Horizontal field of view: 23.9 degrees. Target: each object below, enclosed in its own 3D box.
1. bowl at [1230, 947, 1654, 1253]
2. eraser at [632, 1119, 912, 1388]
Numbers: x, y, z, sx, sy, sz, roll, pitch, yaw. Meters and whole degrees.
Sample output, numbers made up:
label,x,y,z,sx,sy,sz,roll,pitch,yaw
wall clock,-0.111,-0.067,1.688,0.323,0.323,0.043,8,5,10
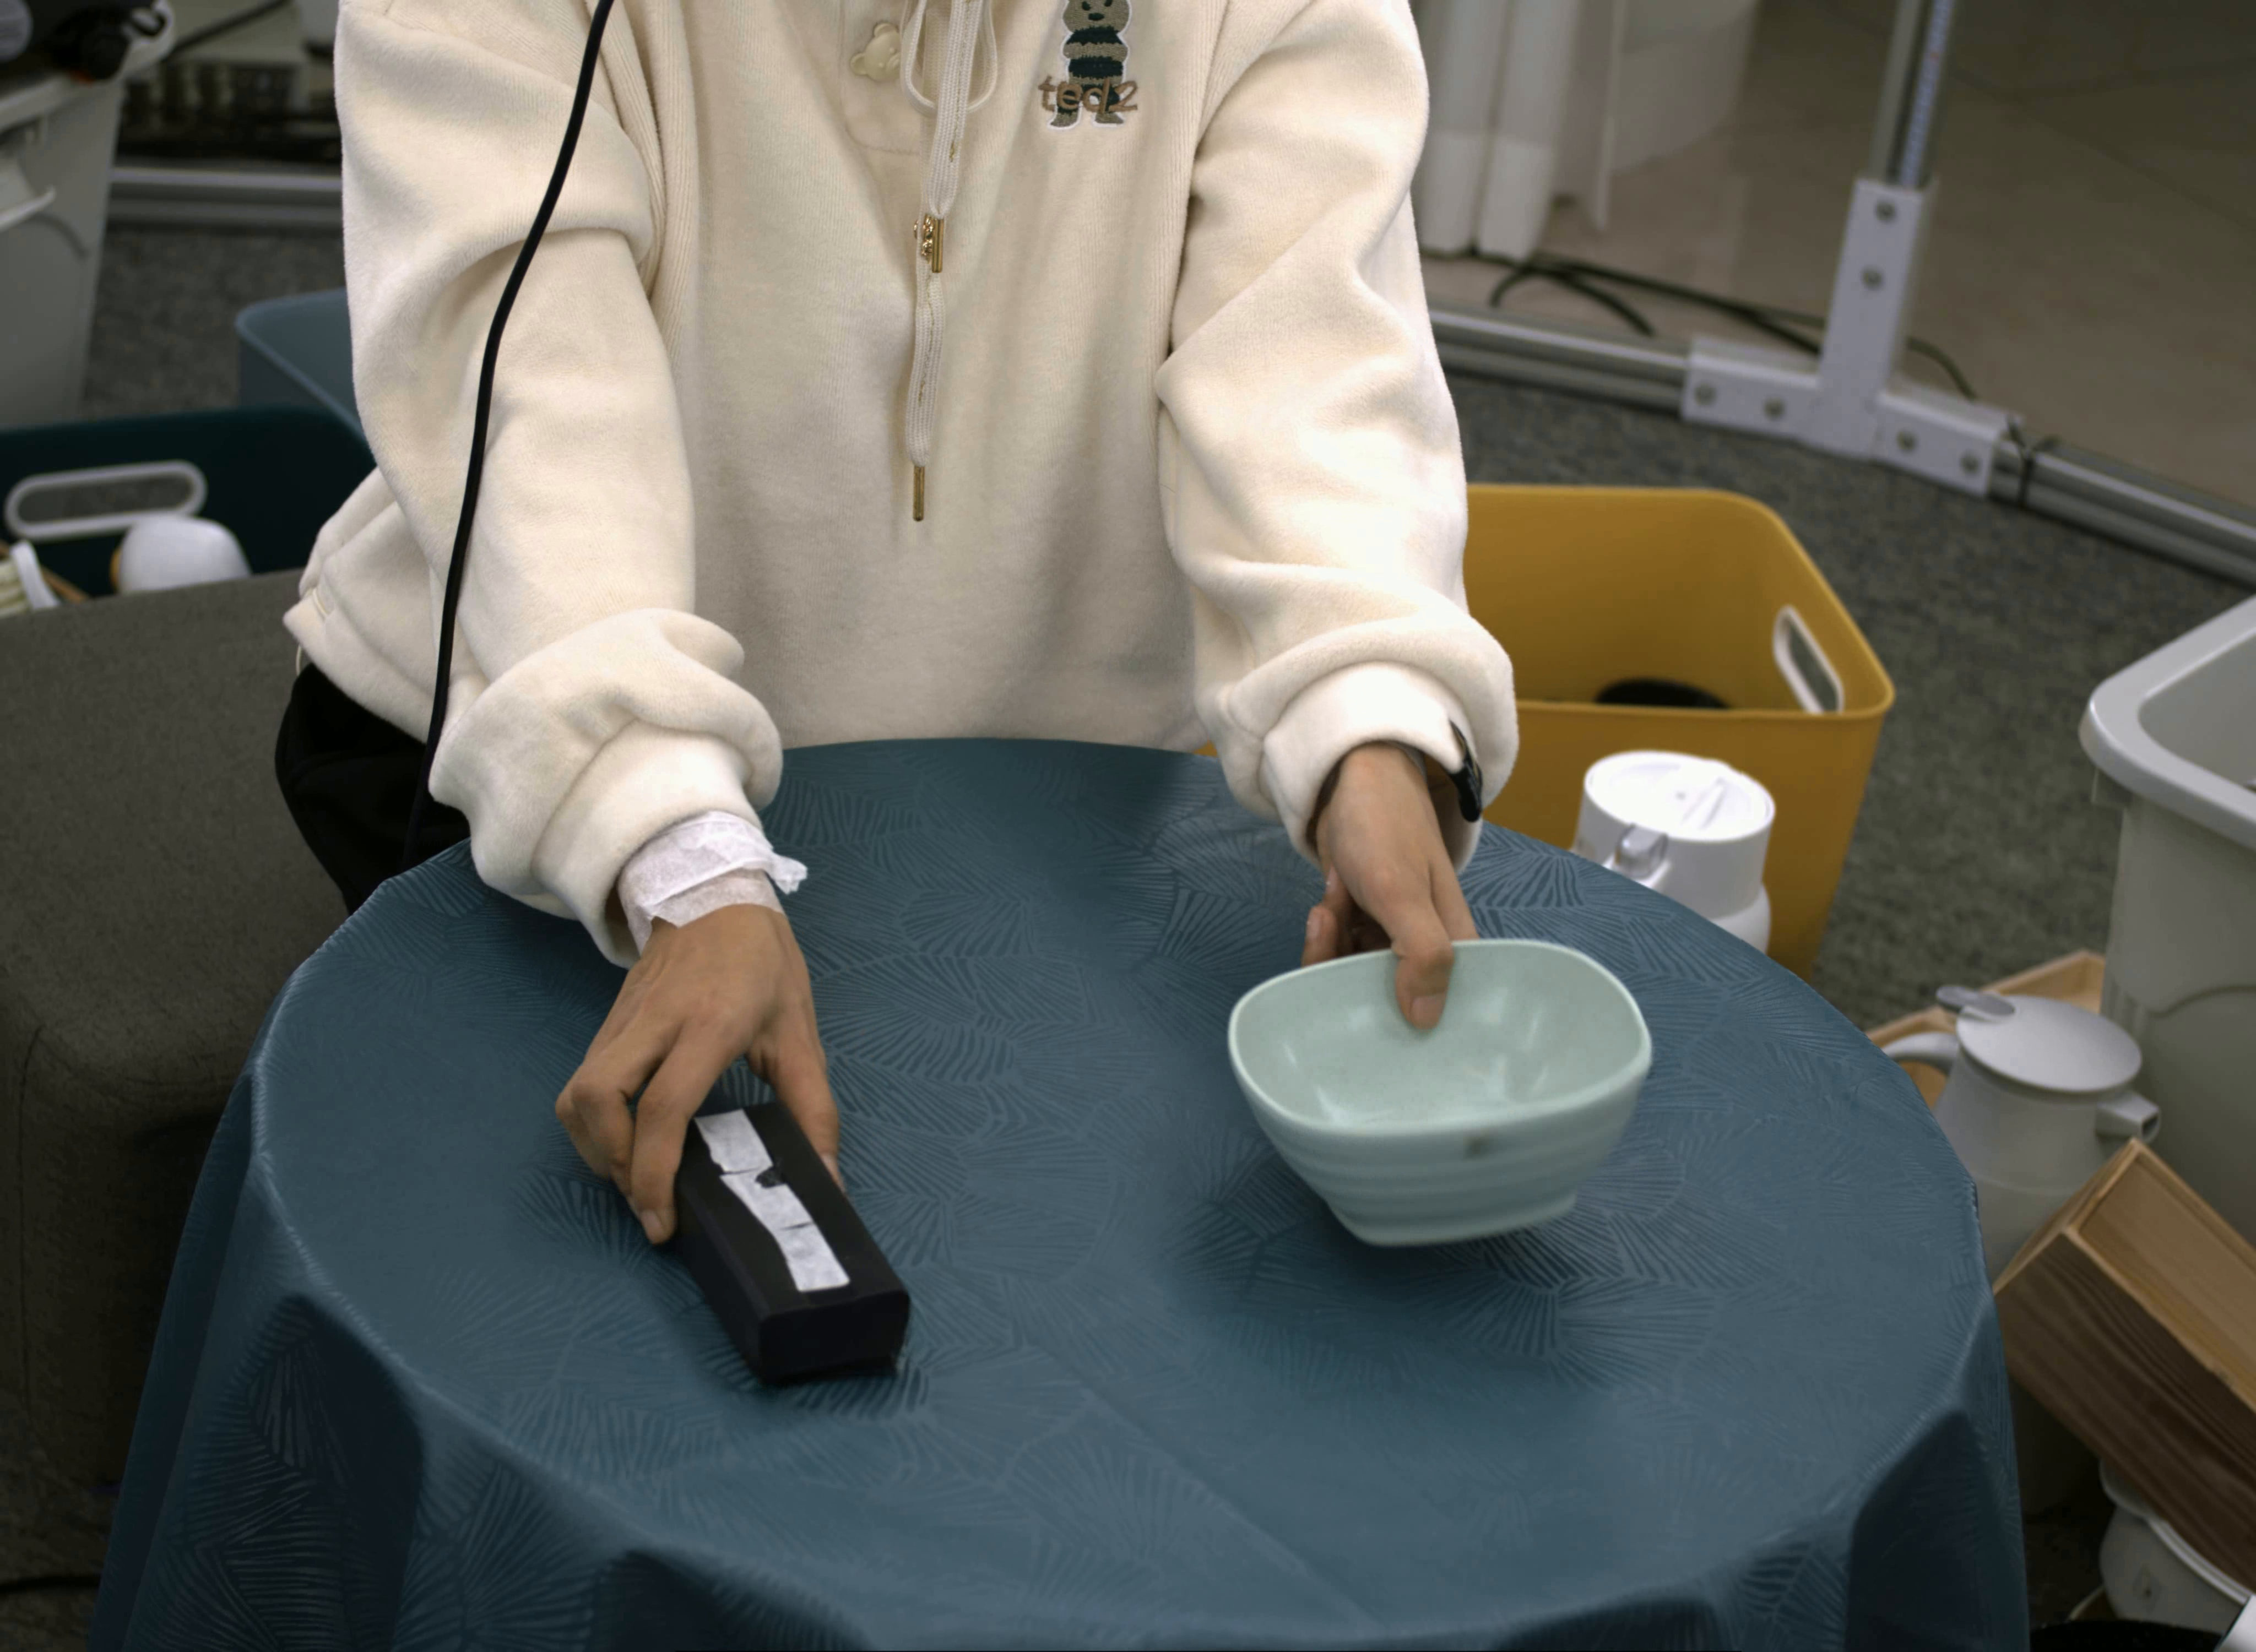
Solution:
label,x,y,z,sx,sy,sz,roll,pitch,yaw
bowl,0.105,0.098,1.792,0.151,0.058,0.152,-1,26,0
eraser,-0.116,0.137,1.719,0.053,0.030,0.126,-7,28,-22
